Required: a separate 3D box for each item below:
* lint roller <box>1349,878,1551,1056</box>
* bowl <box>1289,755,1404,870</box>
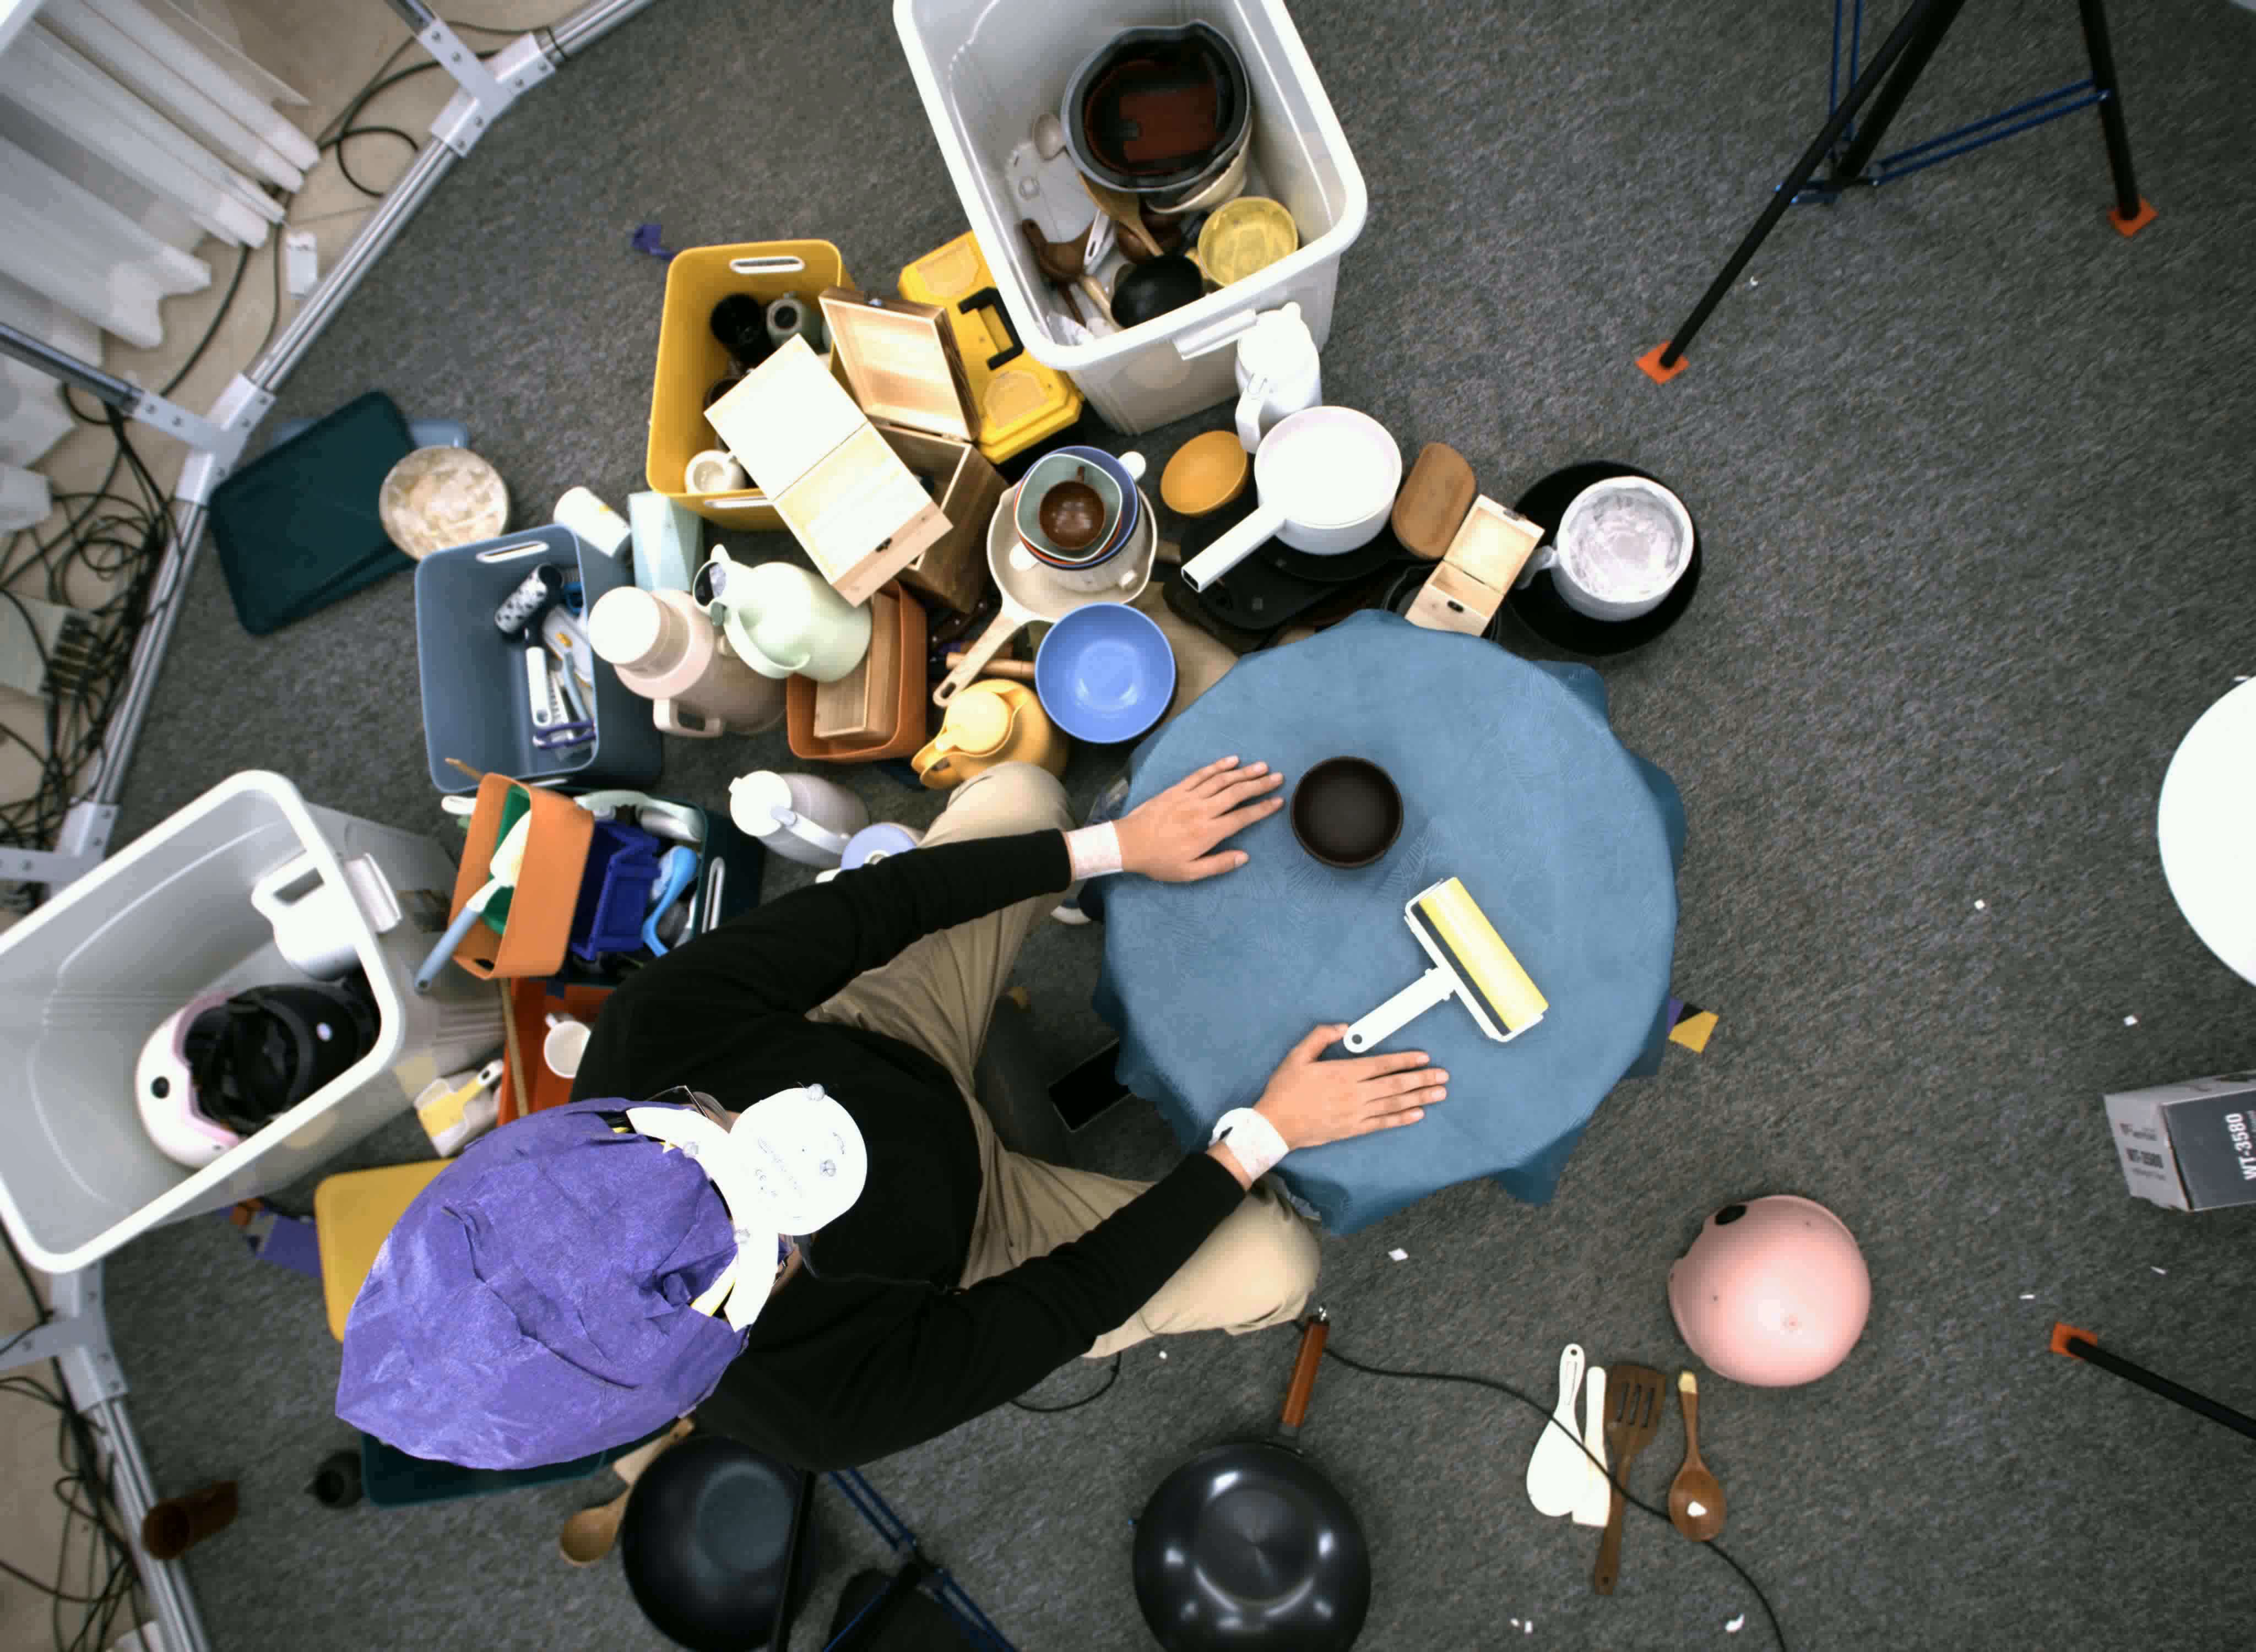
[{"bbox_3d":[0.308,0.172,1.421,0.192,0.051,0.173,-37,80,2],"label":"lint roller"},{"bbox_3d":[0.227,-0.012,1.435,0.118,0.070,0.117,-1,85,10],"label":"bowl"}]
